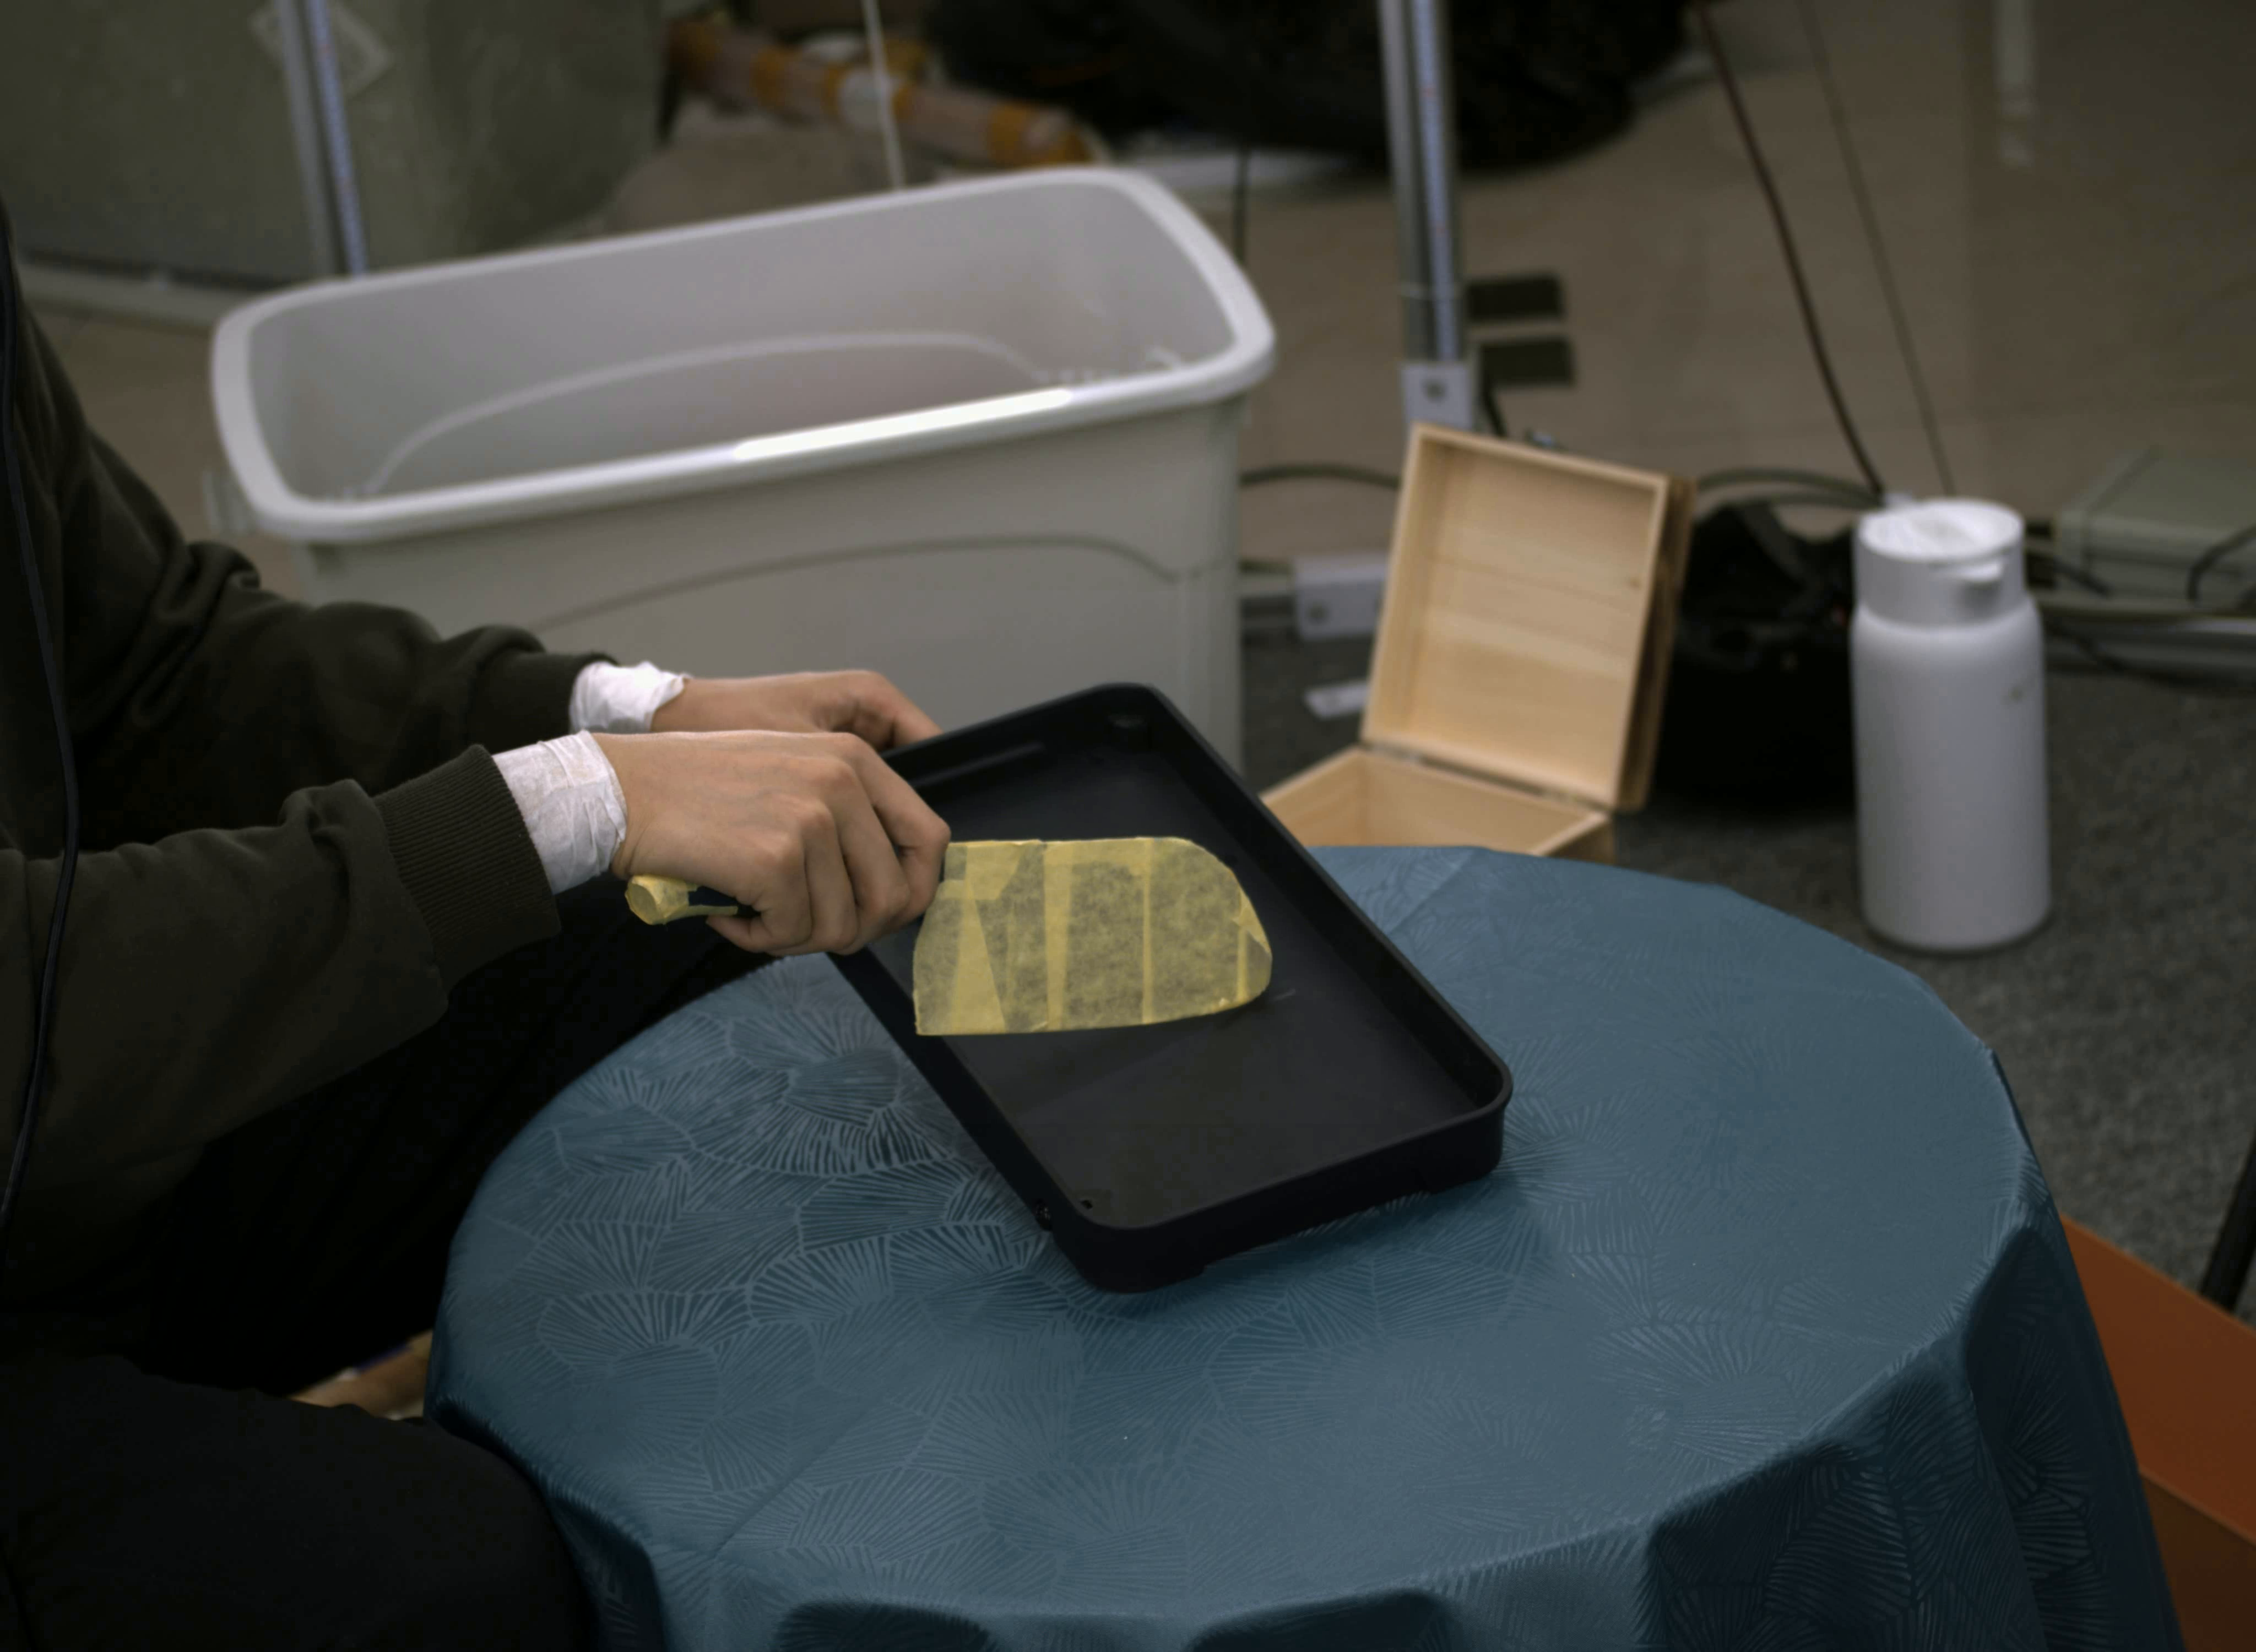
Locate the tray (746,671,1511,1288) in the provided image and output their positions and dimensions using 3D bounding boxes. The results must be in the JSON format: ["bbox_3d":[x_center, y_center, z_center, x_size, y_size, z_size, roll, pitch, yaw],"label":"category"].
[{"bbox_3d":[-0.004,0.054,2.209,0.183,0.038,0.313,-20,41,-22],"label":"tray"}]

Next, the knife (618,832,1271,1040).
[{"bbox_3d":[-0.063,0.040,2.130,0.289,0.081,0.027,2,-1,-34],"label":"knife"}]
